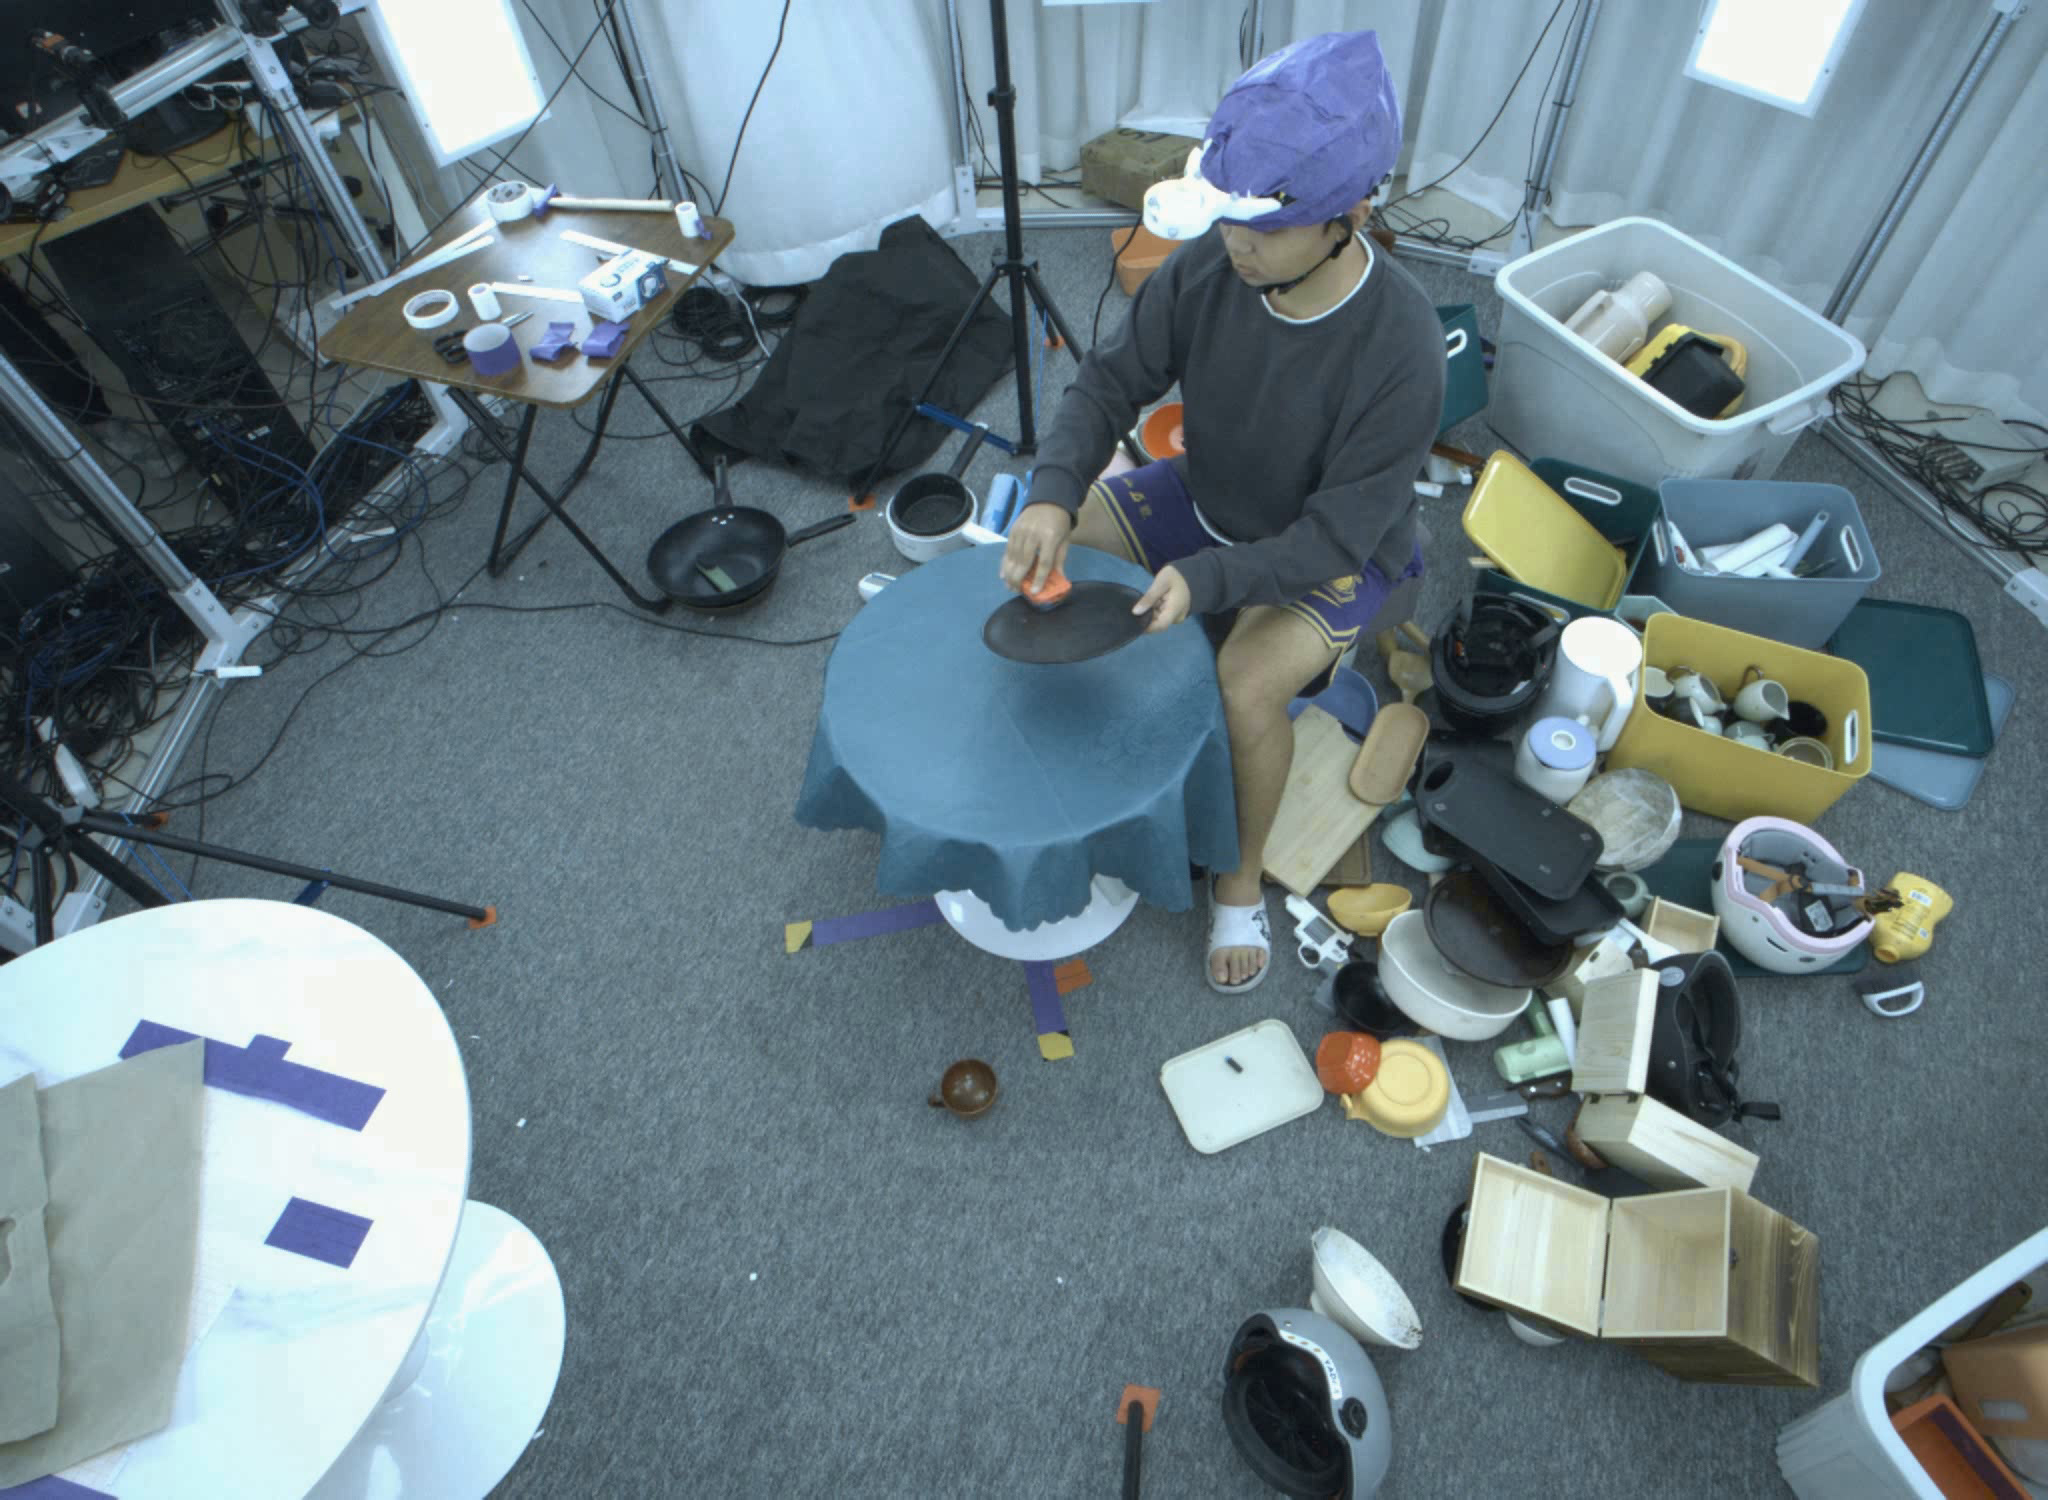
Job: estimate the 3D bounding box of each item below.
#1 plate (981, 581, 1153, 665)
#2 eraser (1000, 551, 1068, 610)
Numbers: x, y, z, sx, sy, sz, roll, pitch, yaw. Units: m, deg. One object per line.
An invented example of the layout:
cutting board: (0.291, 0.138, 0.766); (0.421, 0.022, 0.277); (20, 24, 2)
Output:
plate: (0.060, -0.174, 1.726); (0.243, 0.024, 0.242); (-6, 33, 5)
eraser: (0.014, -0.251, 1.808); (0.059, 0.023, 0.106); (-27, 54, -20)
